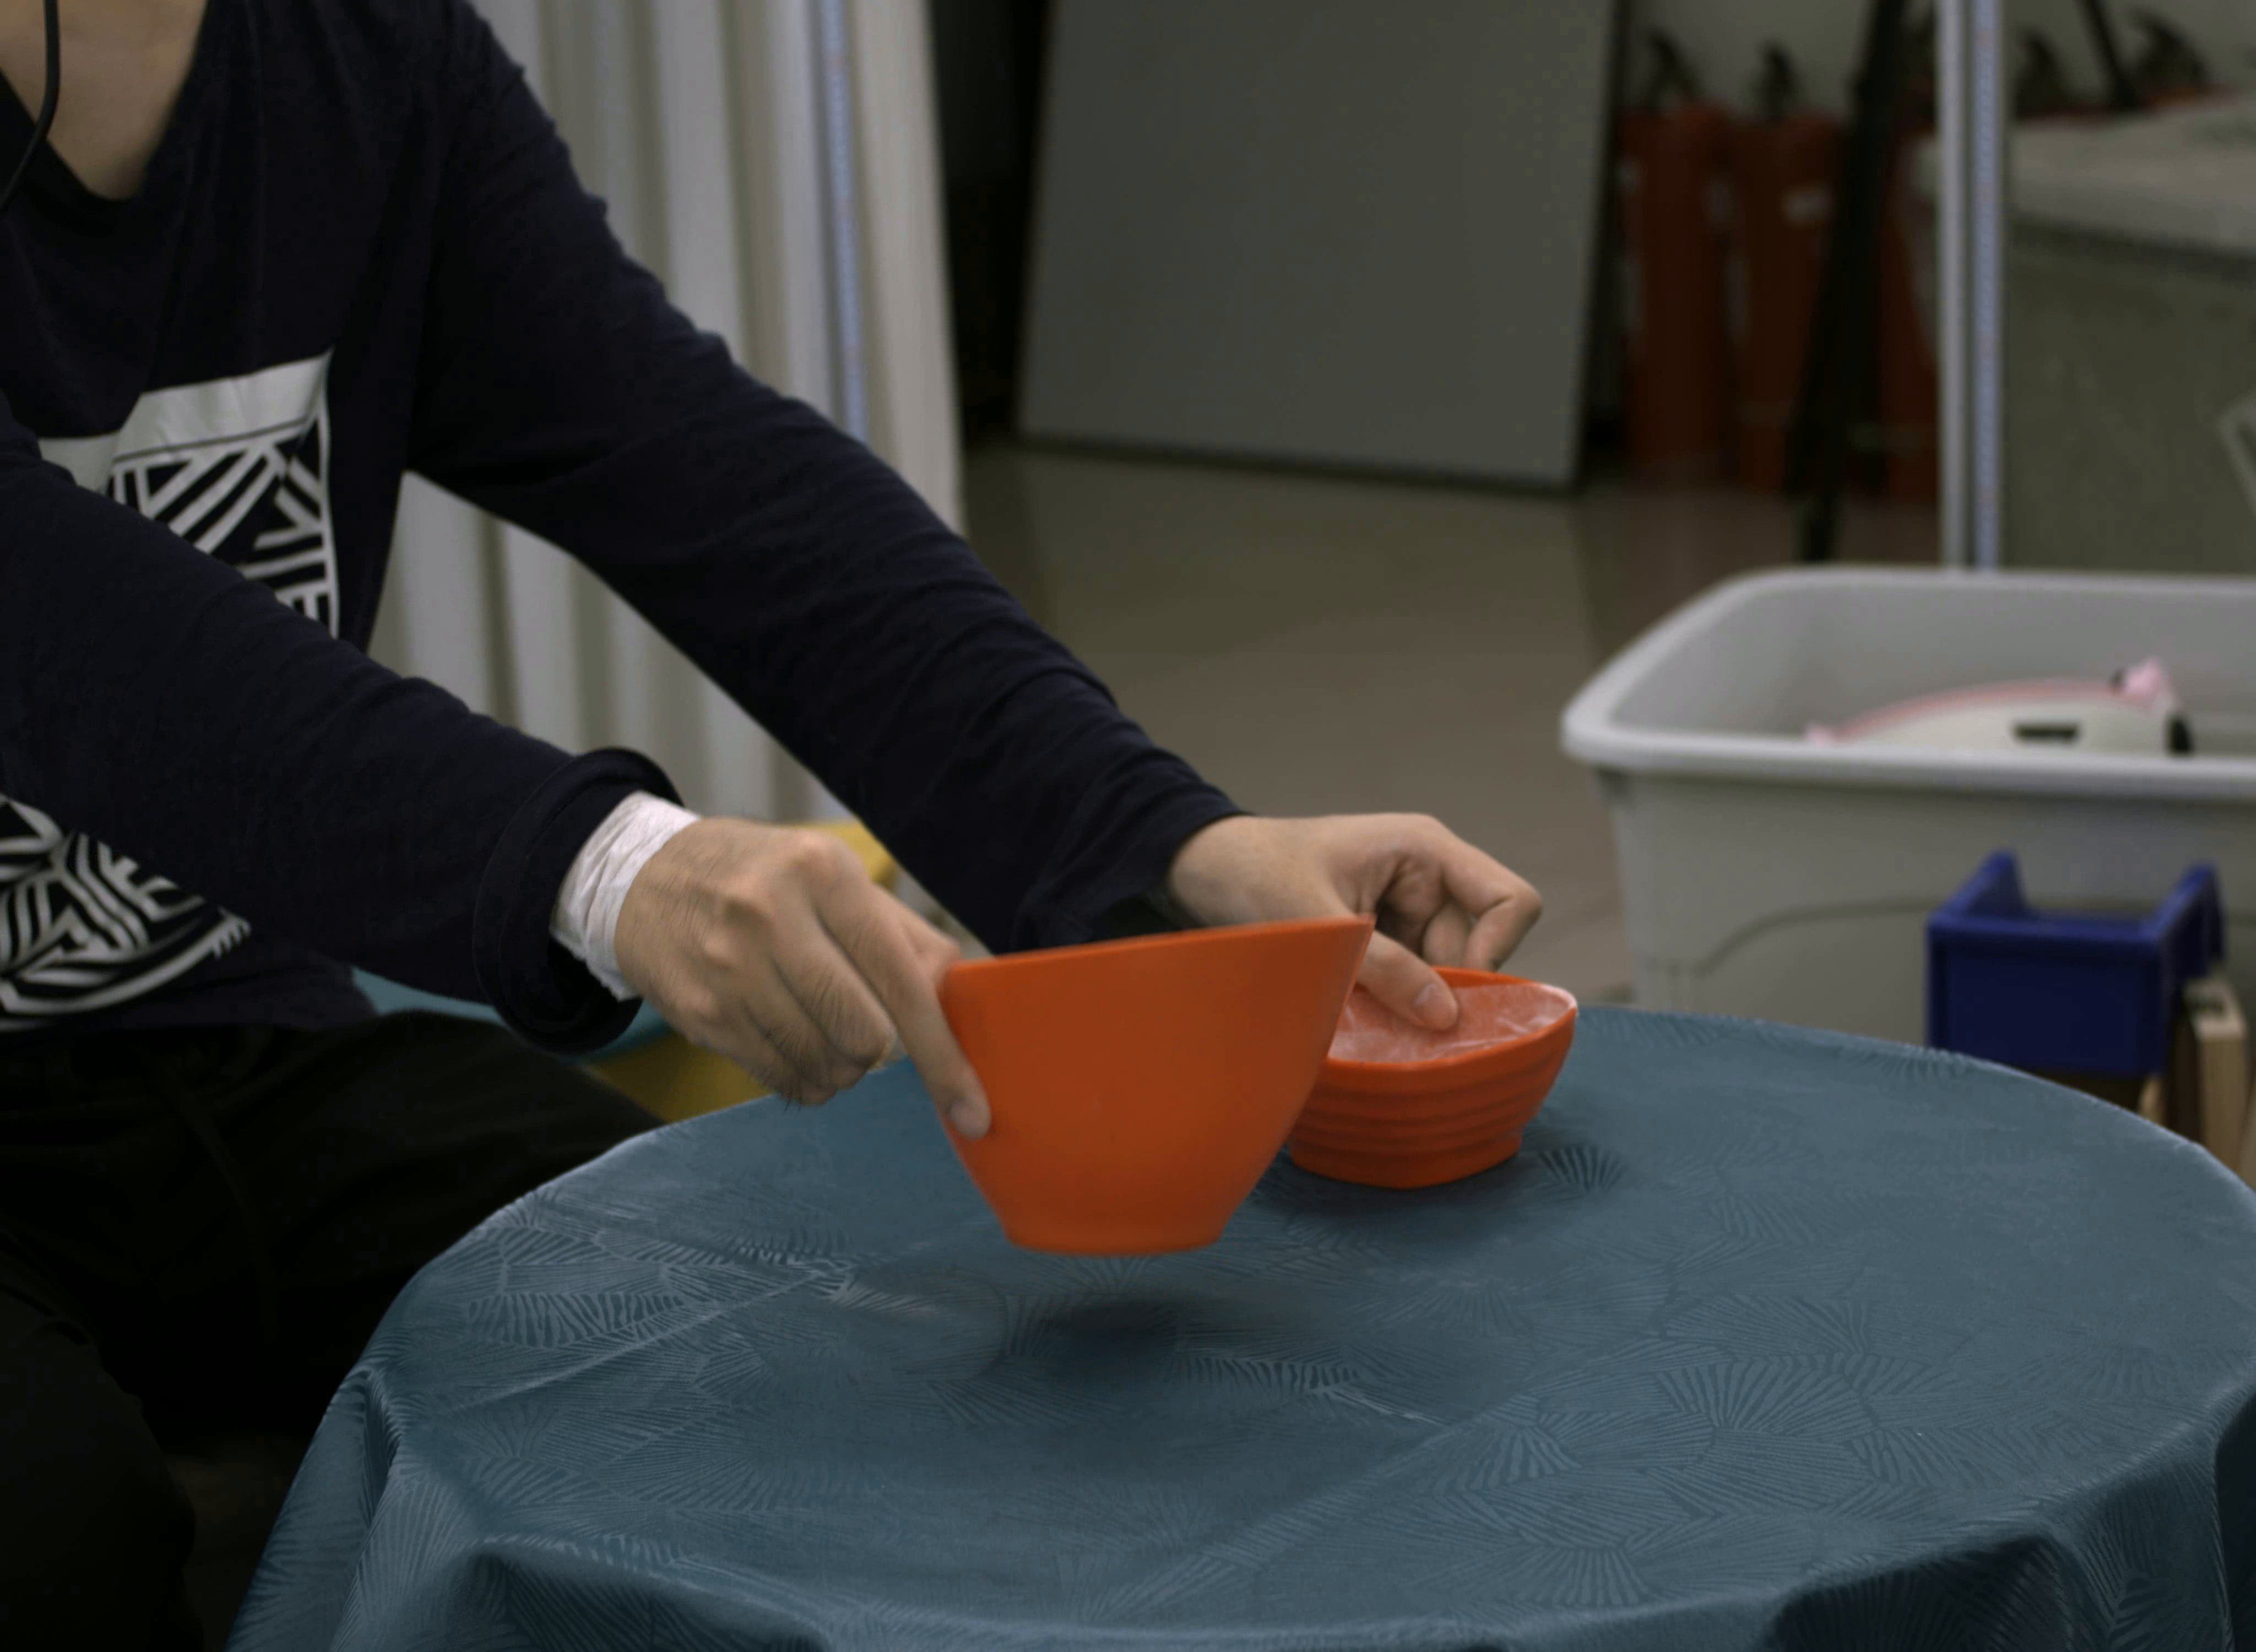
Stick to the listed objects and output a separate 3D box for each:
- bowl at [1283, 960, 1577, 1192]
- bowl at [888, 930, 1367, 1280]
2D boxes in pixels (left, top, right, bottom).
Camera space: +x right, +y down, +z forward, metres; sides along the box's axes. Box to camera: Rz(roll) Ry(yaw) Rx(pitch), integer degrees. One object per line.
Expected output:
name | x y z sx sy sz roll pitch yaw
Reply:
bowl | 0.091 0.085 1.785 0.117 0.052 0.119 -4 15 0
bowl | 0.000 0.082 1.633 0.146 0.106 0.148 -1 4 -1
